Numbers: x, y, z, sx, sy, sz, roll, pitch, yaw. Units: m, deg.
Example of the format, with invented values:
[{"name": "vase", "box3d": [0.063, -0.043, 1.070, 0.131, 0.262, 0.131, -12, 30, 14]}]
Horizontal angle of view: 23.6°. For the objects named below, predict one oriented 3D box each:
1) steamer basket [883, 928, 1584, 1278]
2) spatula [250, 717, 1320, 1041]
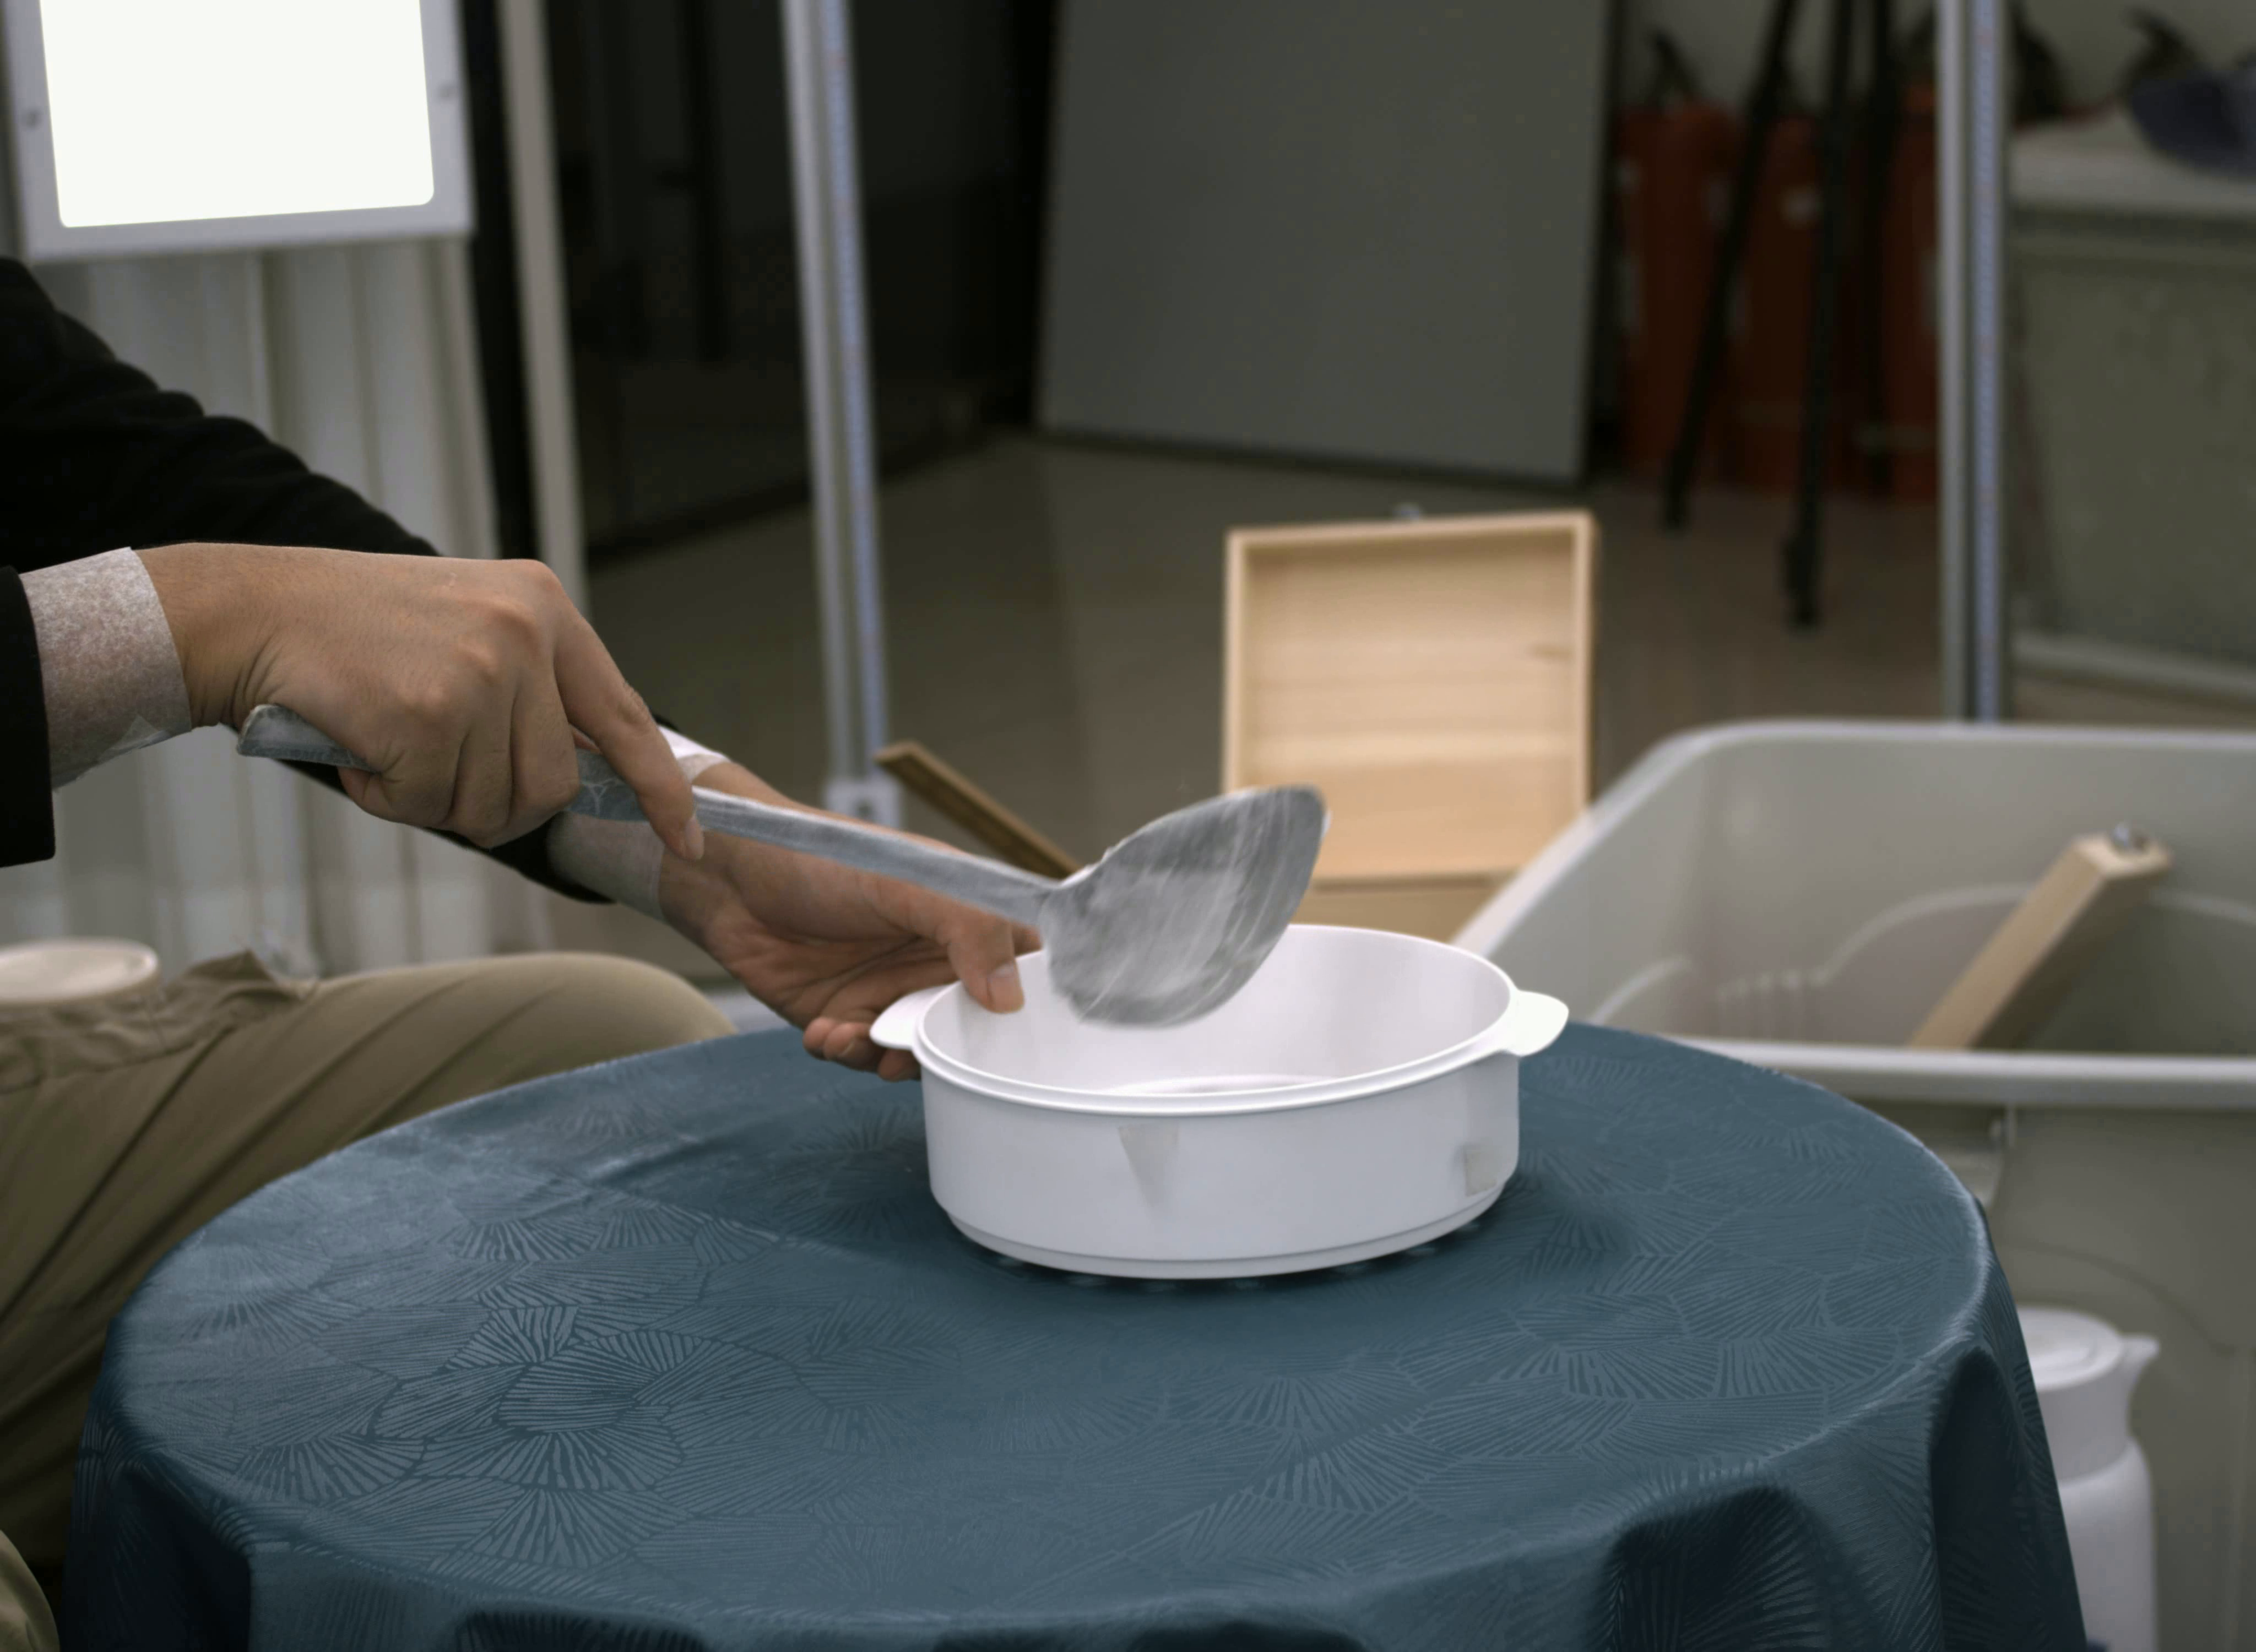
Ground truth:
[{"name": "steamer basket", "box3d": [0.035, 0.089, 1.743, 0.230, 0.070, 0.200, -1, 13, 17]}, {"name": "spatula", "box3d": [-0.100, 0.003, 1.675, 0.357, 0.100, 0.045, 14, 30, -24]}]
